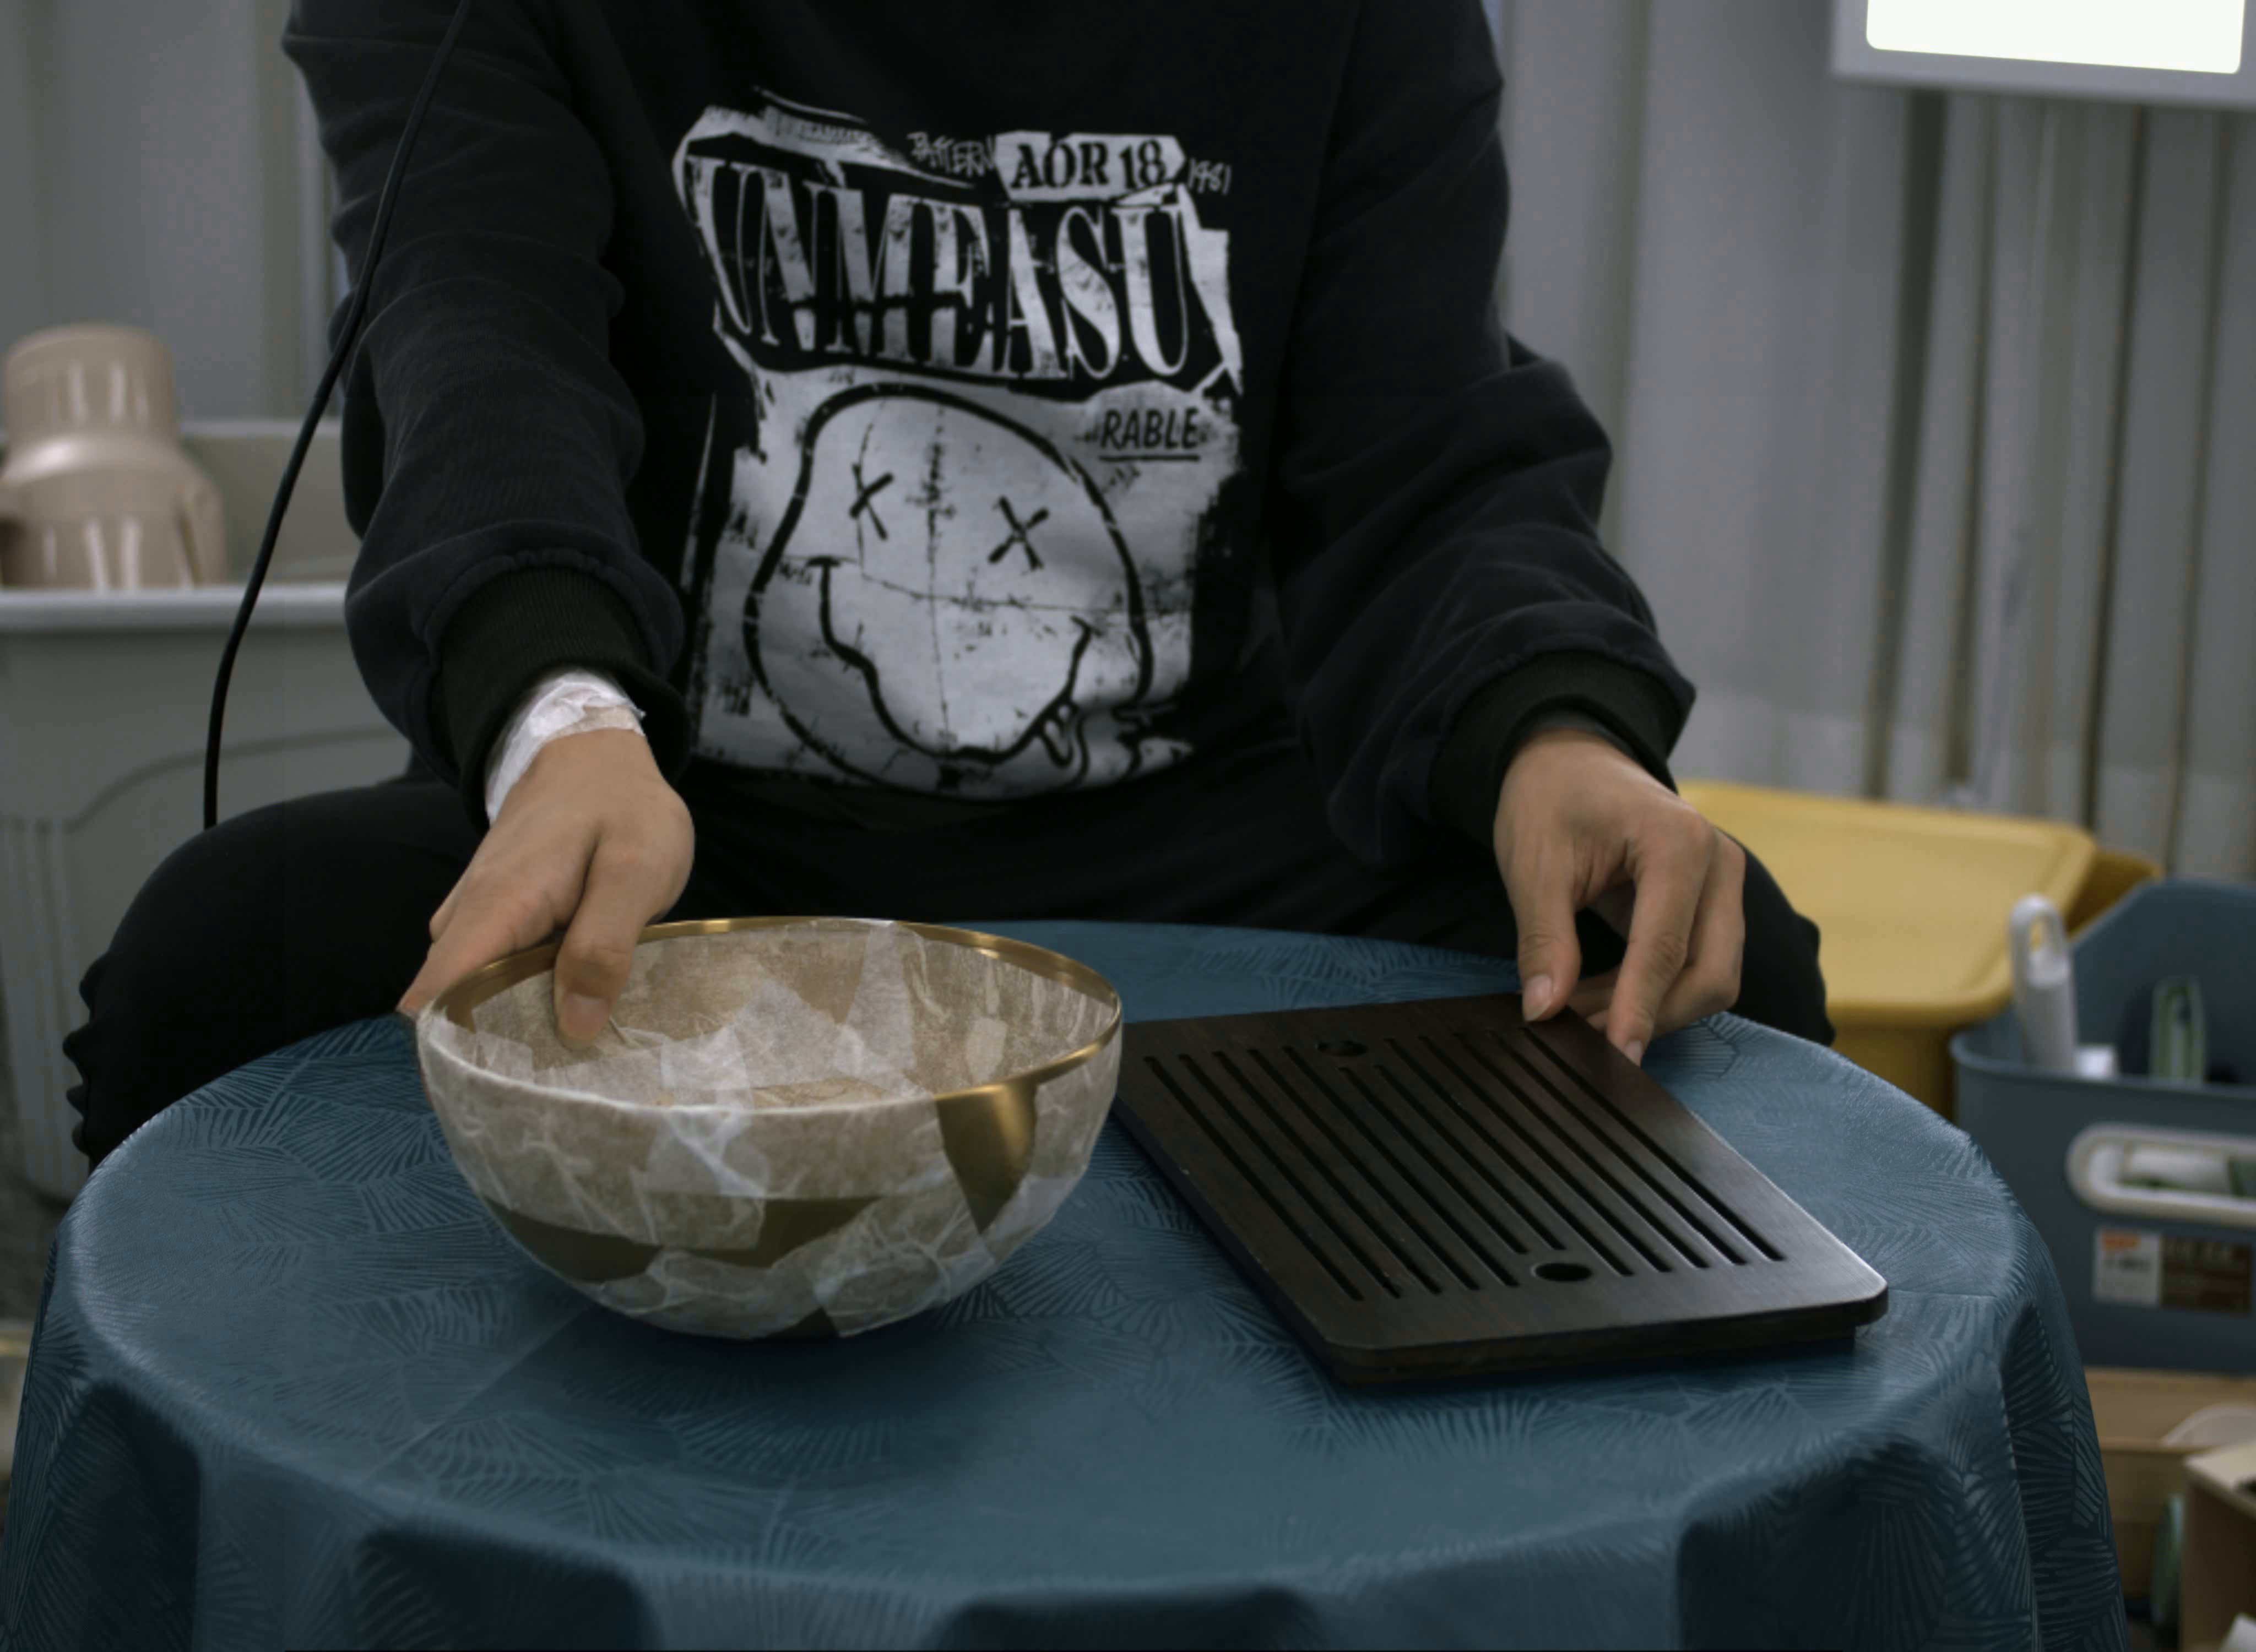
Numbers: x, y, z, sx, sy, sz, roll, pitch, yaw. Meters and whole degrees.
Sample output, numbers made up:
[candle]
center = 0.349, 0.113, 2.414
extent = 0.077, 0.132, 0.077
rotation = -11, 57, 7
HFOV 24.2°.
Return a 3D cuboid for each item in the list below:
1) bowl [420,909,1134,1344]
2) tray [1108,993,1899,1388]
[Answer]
[bowl]
center = -0.098, 0.094, 1.518
extent = 0.214, 0.095, 0.213
rotation = 0, 15, 1
[tray]
center = 0.102, 0.108, 1.615
extent = 0.170, 0.019, 0.303
rotation = -4, 16, -15
